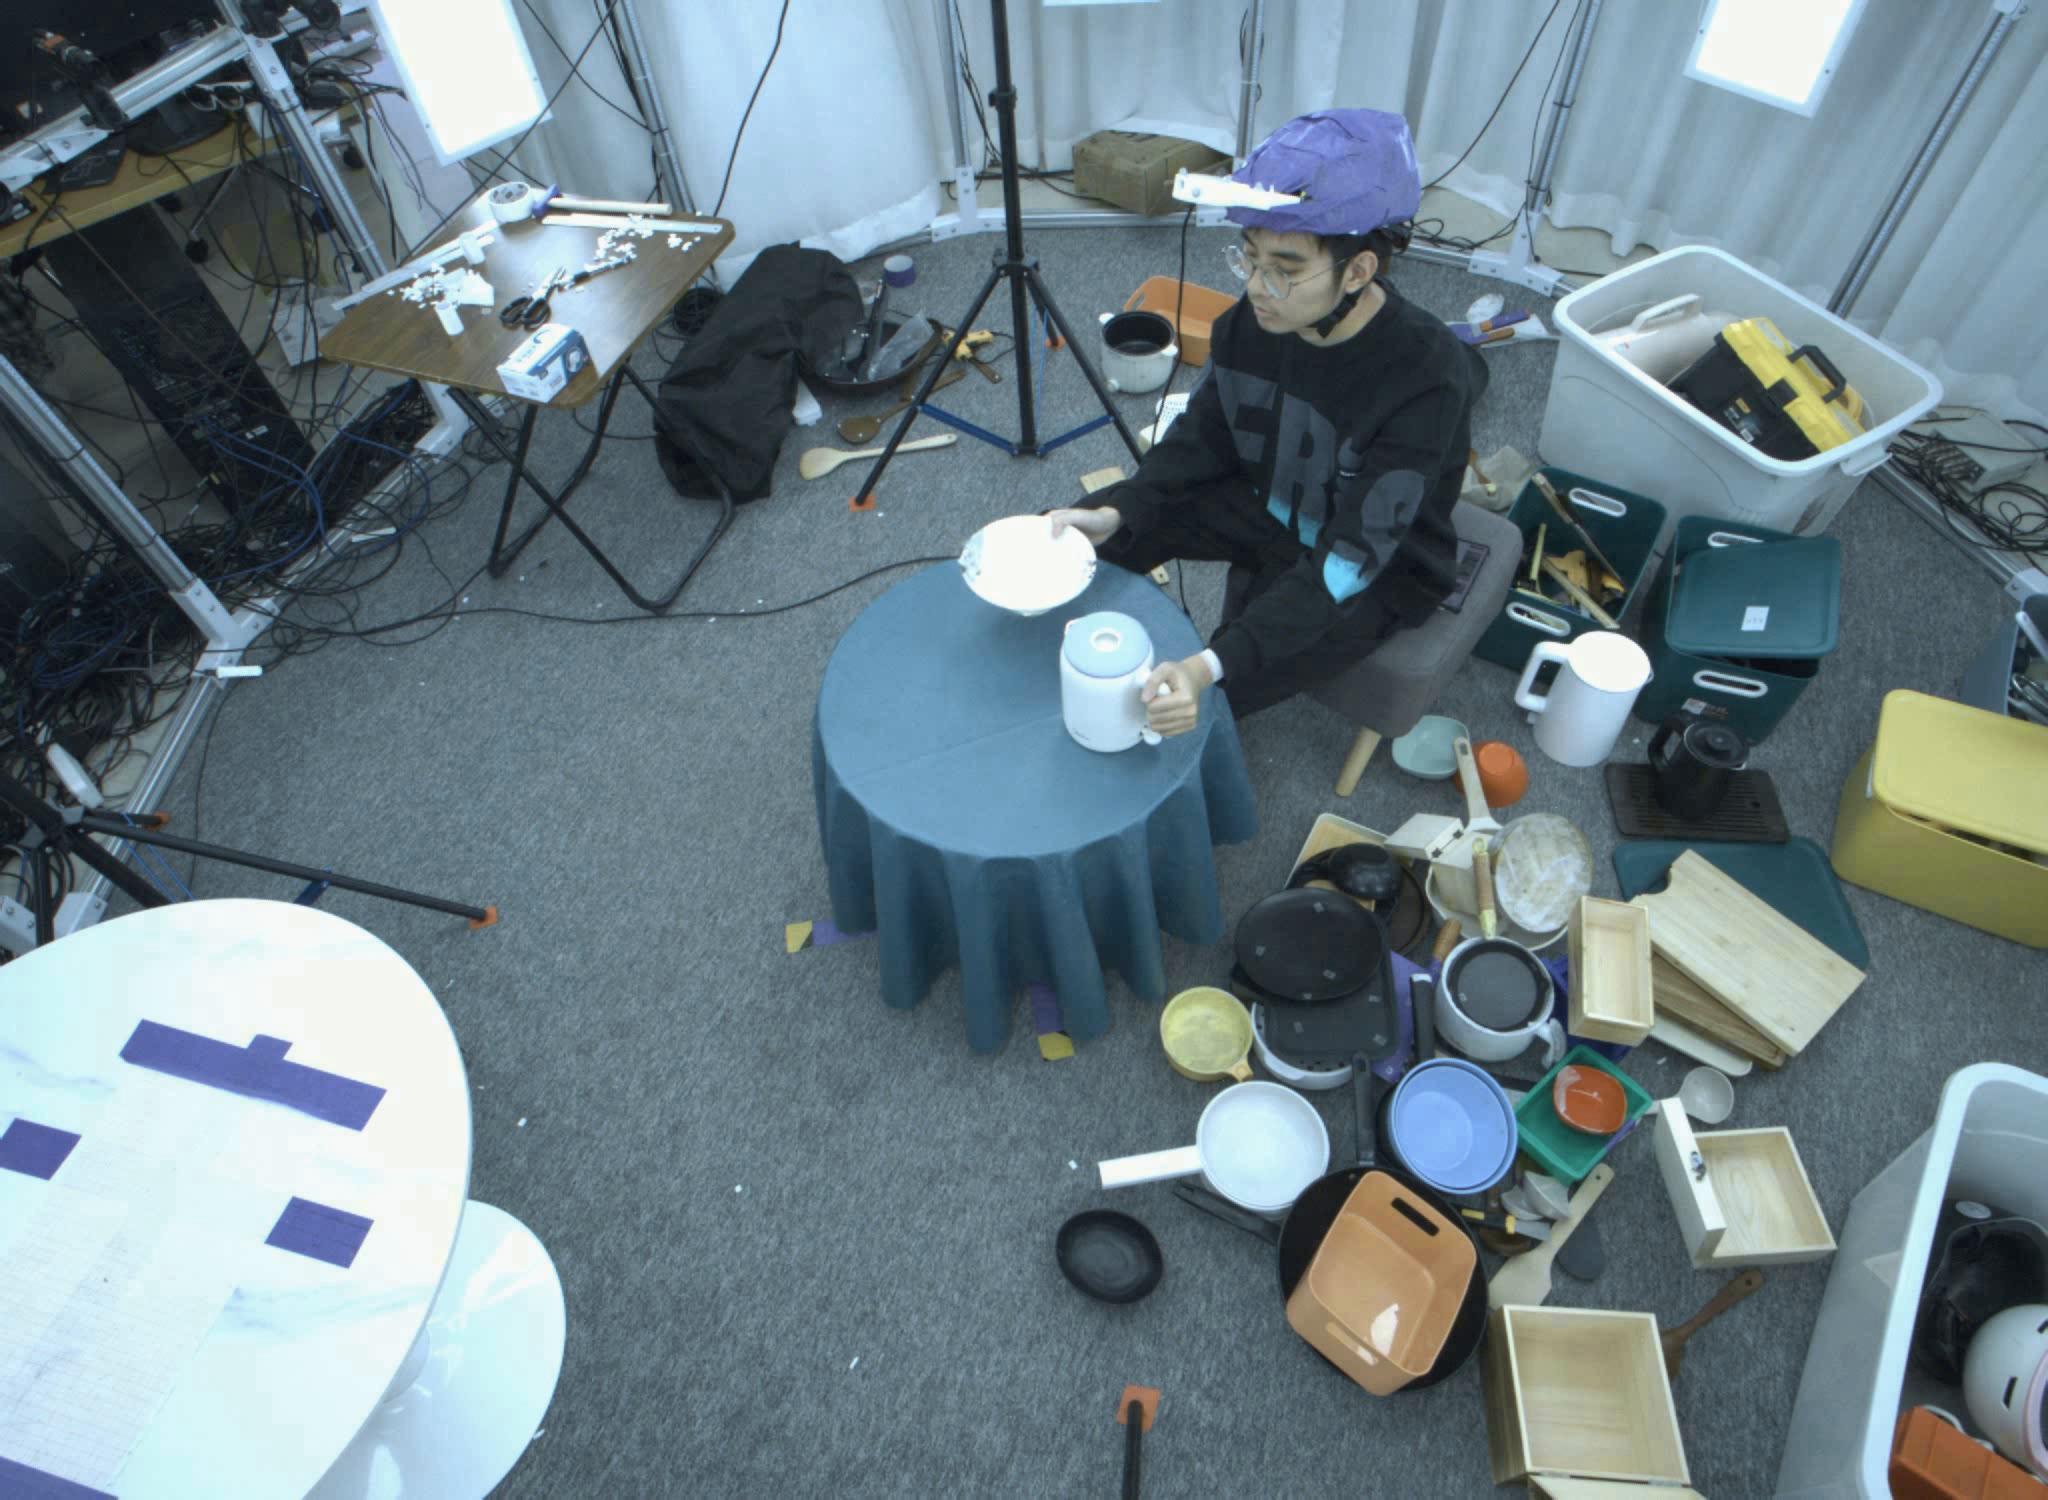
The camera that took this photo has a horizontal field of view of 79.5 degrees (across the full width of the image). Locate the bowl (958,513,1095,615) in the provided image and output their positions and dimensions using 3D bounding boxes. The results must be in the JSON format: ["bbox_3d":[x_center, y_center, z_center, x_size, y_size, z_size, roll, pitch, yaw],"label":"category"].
[{"bbox_3d":[0.003,-0.262,1.855,0.204,0.078,0.202,2,54,-1],"label":"bowl"}]

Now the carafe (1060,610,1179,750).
[{"bbox_3d":[0.137,-0.086,1.734,0.188,0.184,0.133,32,64,21],"label":"carafe"}]
